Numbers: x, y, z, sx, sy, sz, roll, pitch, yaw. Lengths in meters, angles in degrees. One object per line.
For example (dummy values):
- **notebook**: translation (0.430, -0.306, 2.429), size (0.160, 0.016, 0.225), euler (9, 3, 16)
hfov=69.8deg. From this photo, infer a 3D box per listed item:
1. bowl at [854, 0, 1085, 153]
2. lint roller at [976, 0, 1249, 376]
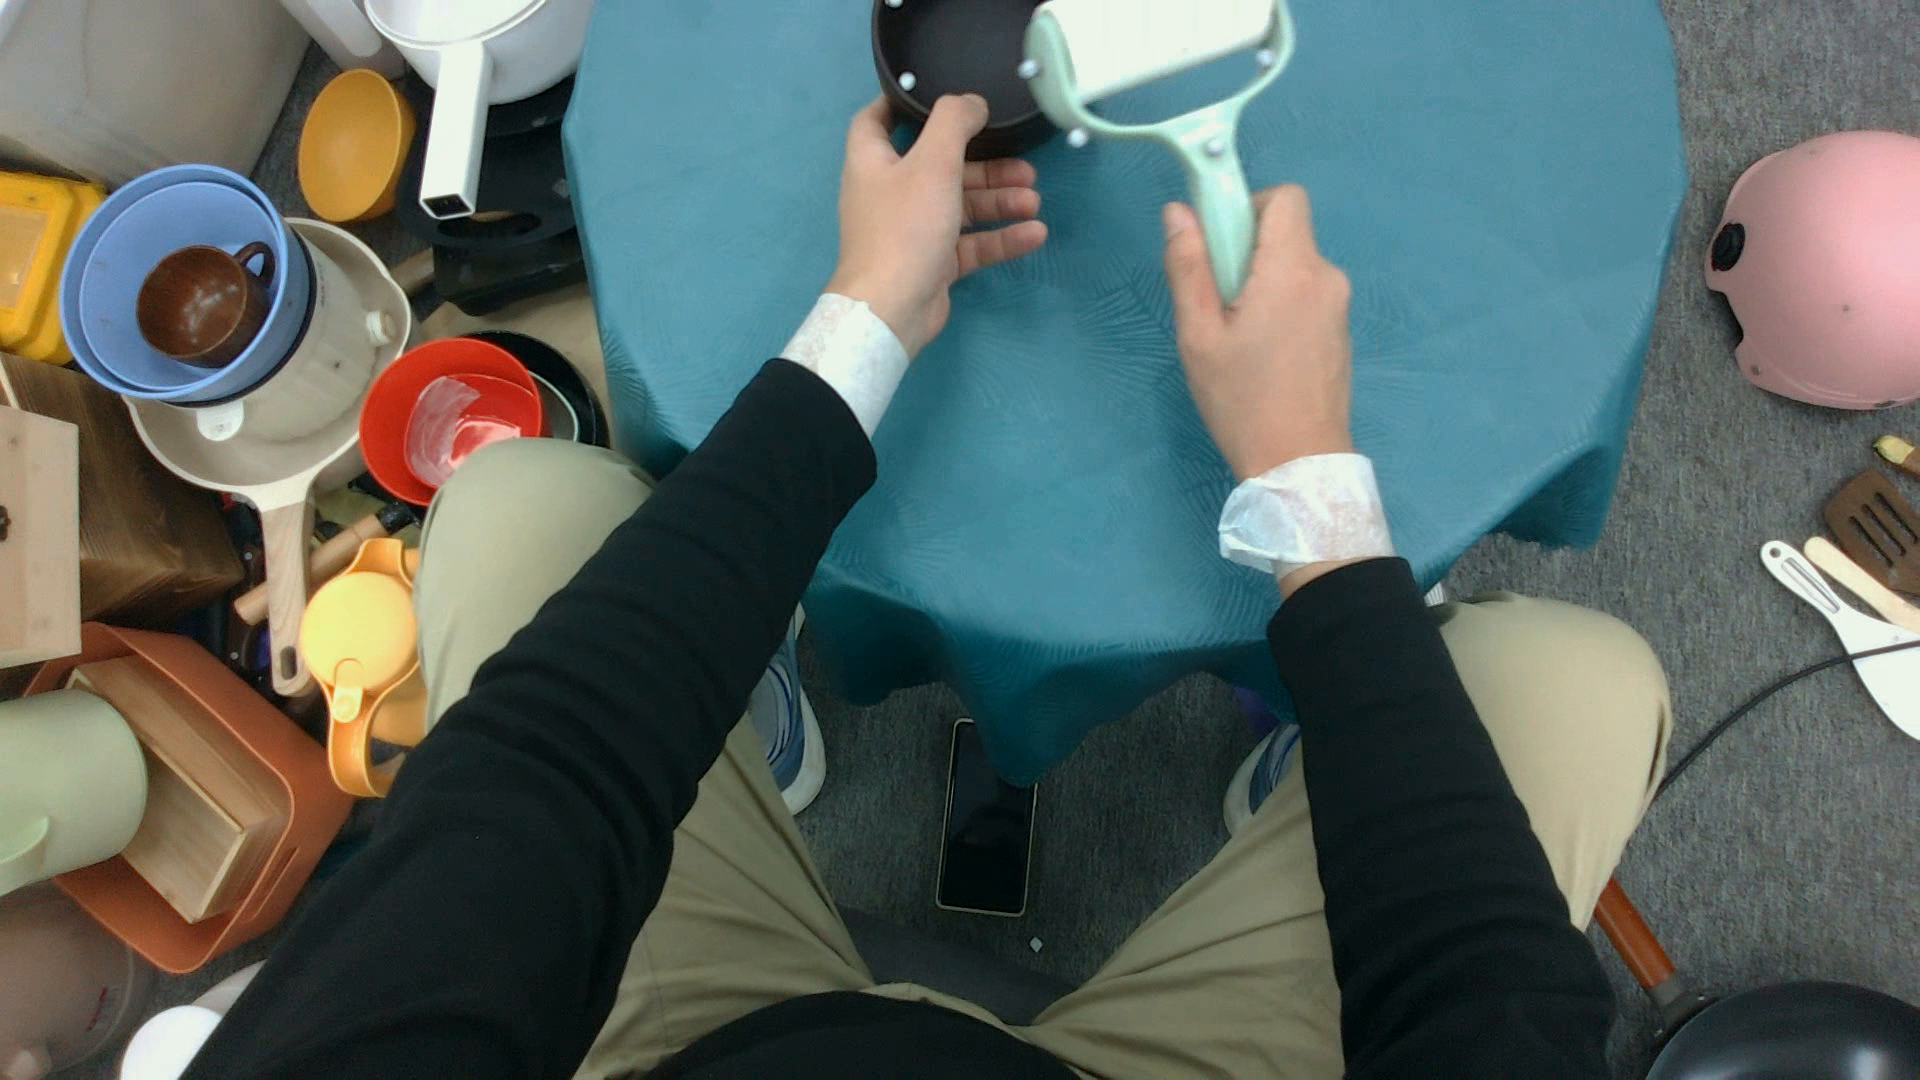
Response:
- **bowl**: translation (0.005, -0.257, 0.720), size (0.118, 0.070, 0.118), euler (0, 81, 1)
- **lint roller**: translation (0.093, -0.169, 0.646), size (0.117, 0.048, 0.197), euler (-24, 93, -14)
